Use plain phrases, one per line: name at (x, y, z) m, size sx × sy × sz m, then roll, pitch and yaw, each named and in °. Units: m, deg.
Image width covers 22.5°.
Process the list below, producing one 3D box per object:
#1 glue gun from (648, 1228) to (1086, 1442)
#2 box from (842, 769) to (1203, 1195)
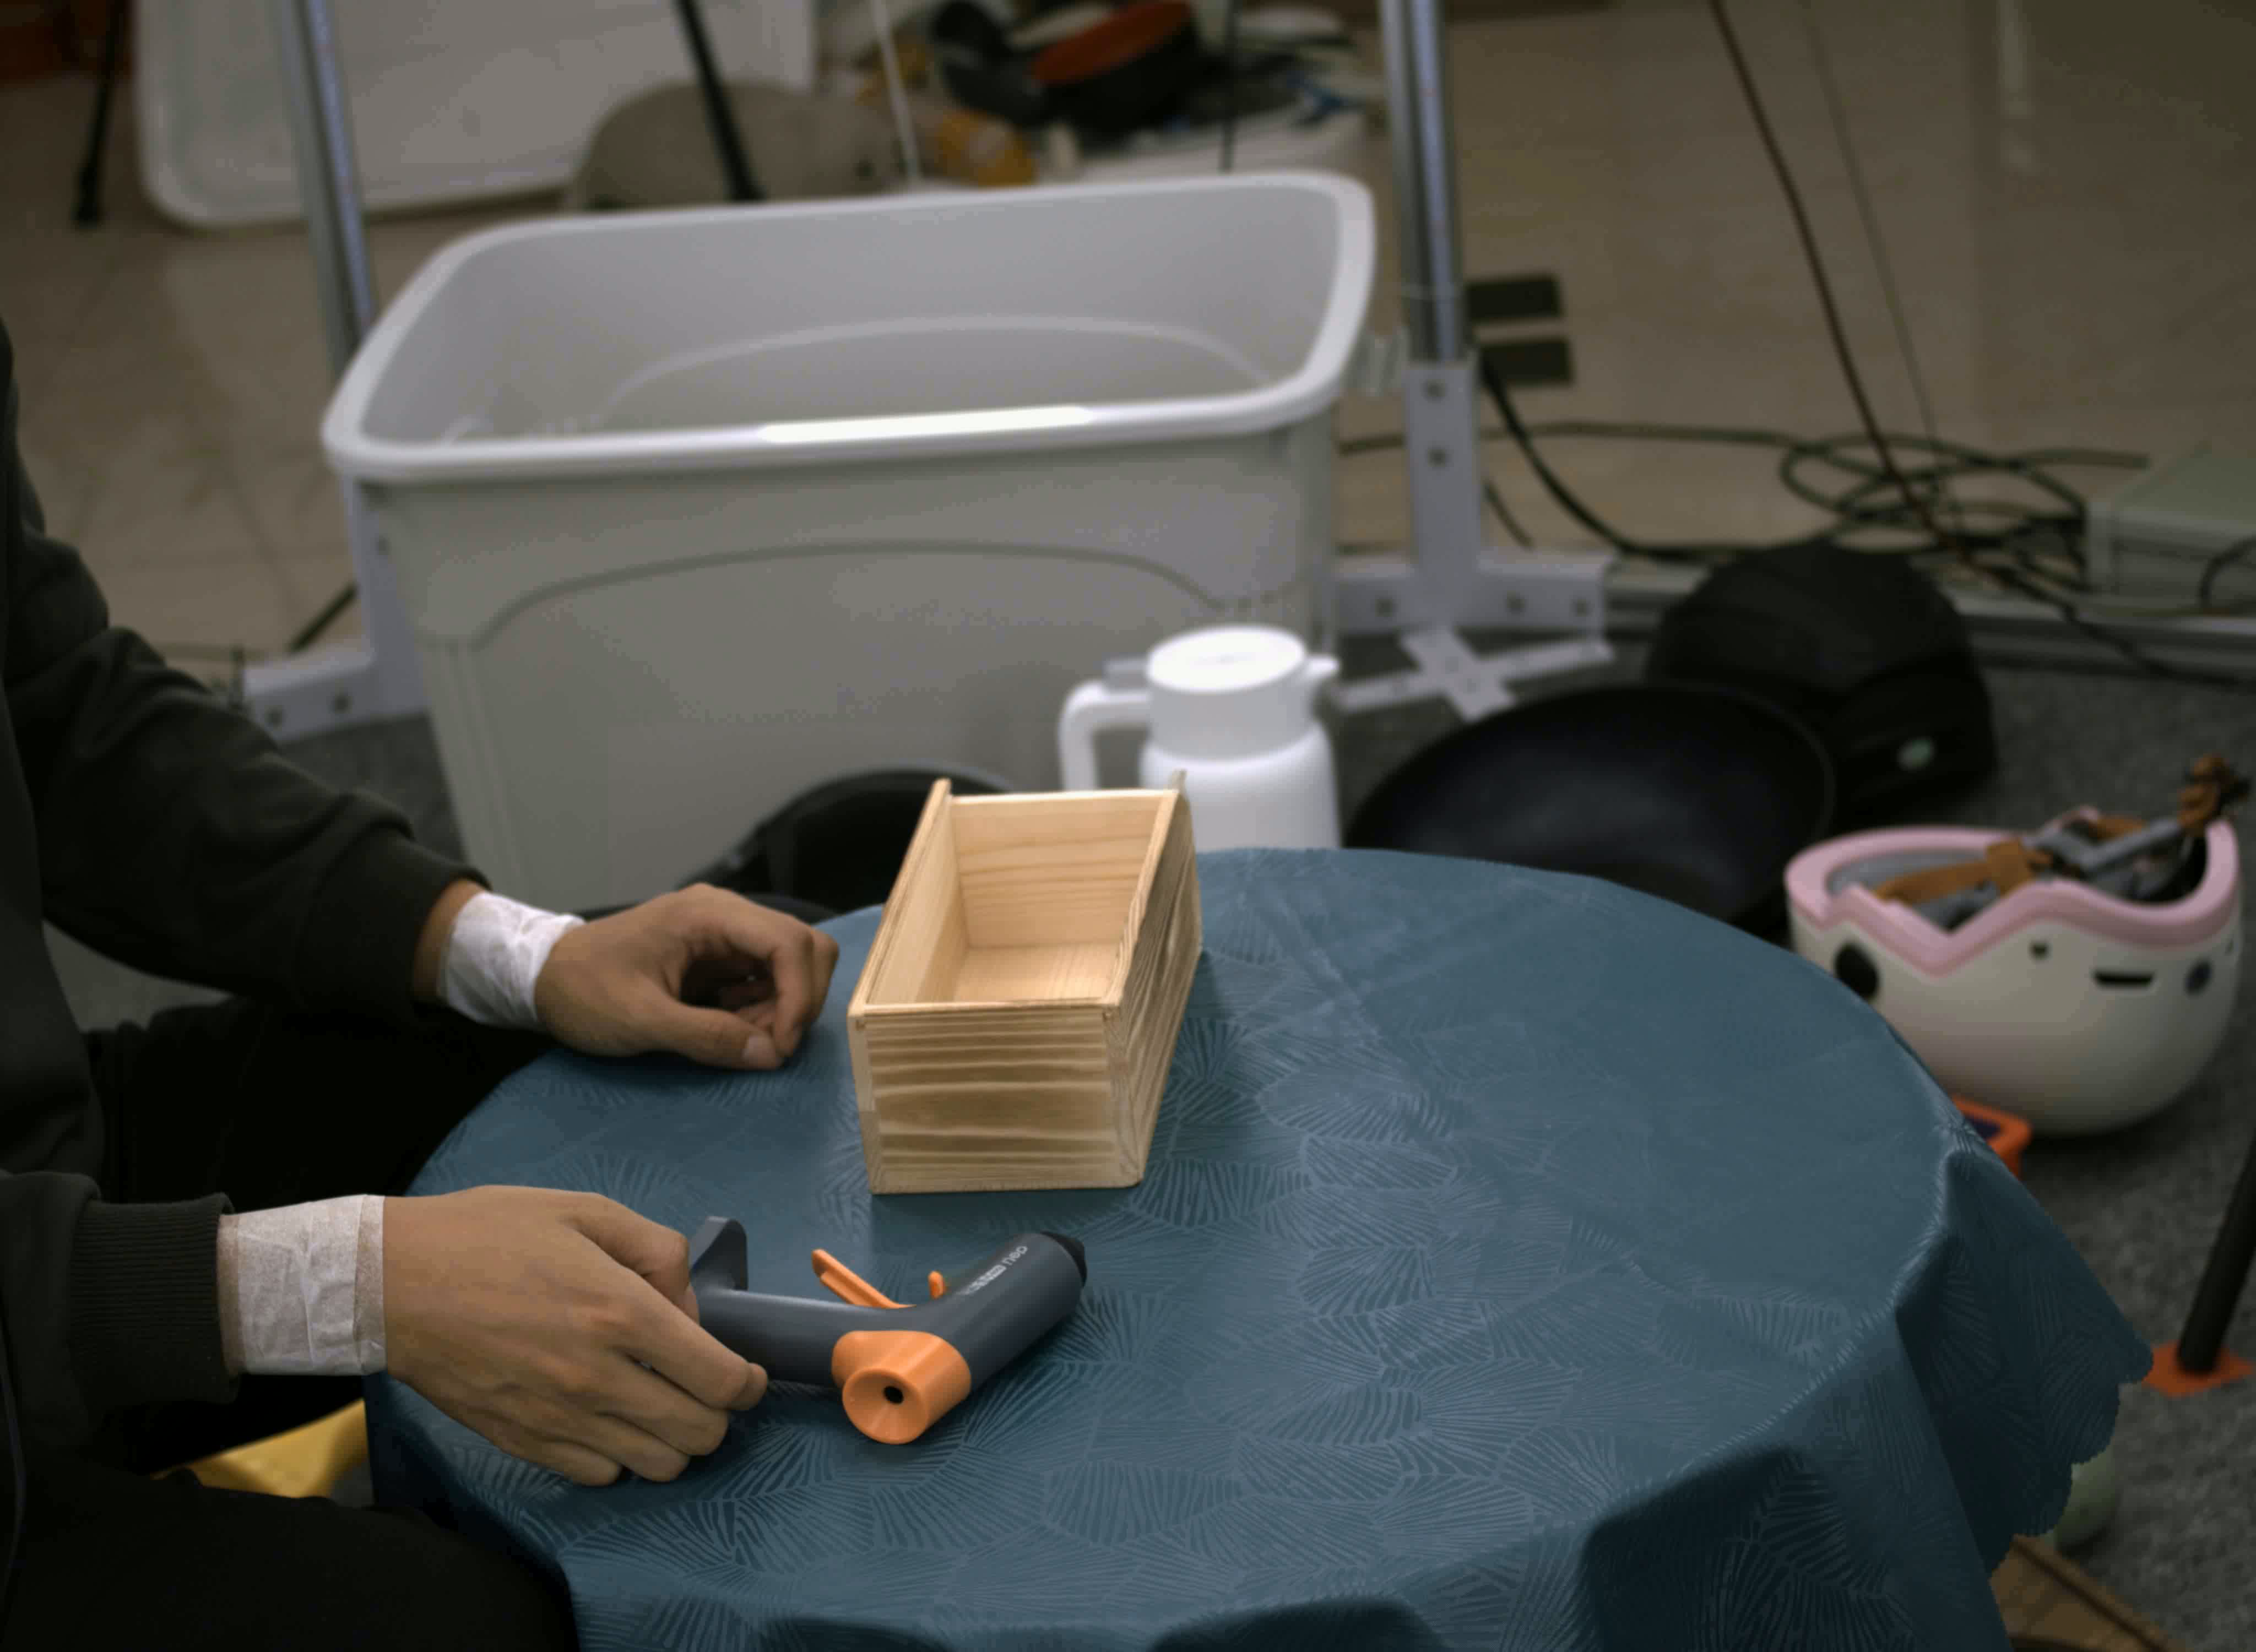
glue gun at (-0.093, 0.178, 2.051) m, size 0.139 × 0.041 × 0.116 m, roll 4°, pitch 25°, yaw 17°
box at (-0.038, 0.059, 2.234) m, size 0.107 × 0.081 × 0.208 m, roll -3°, pitch 25°, yaw 9°
